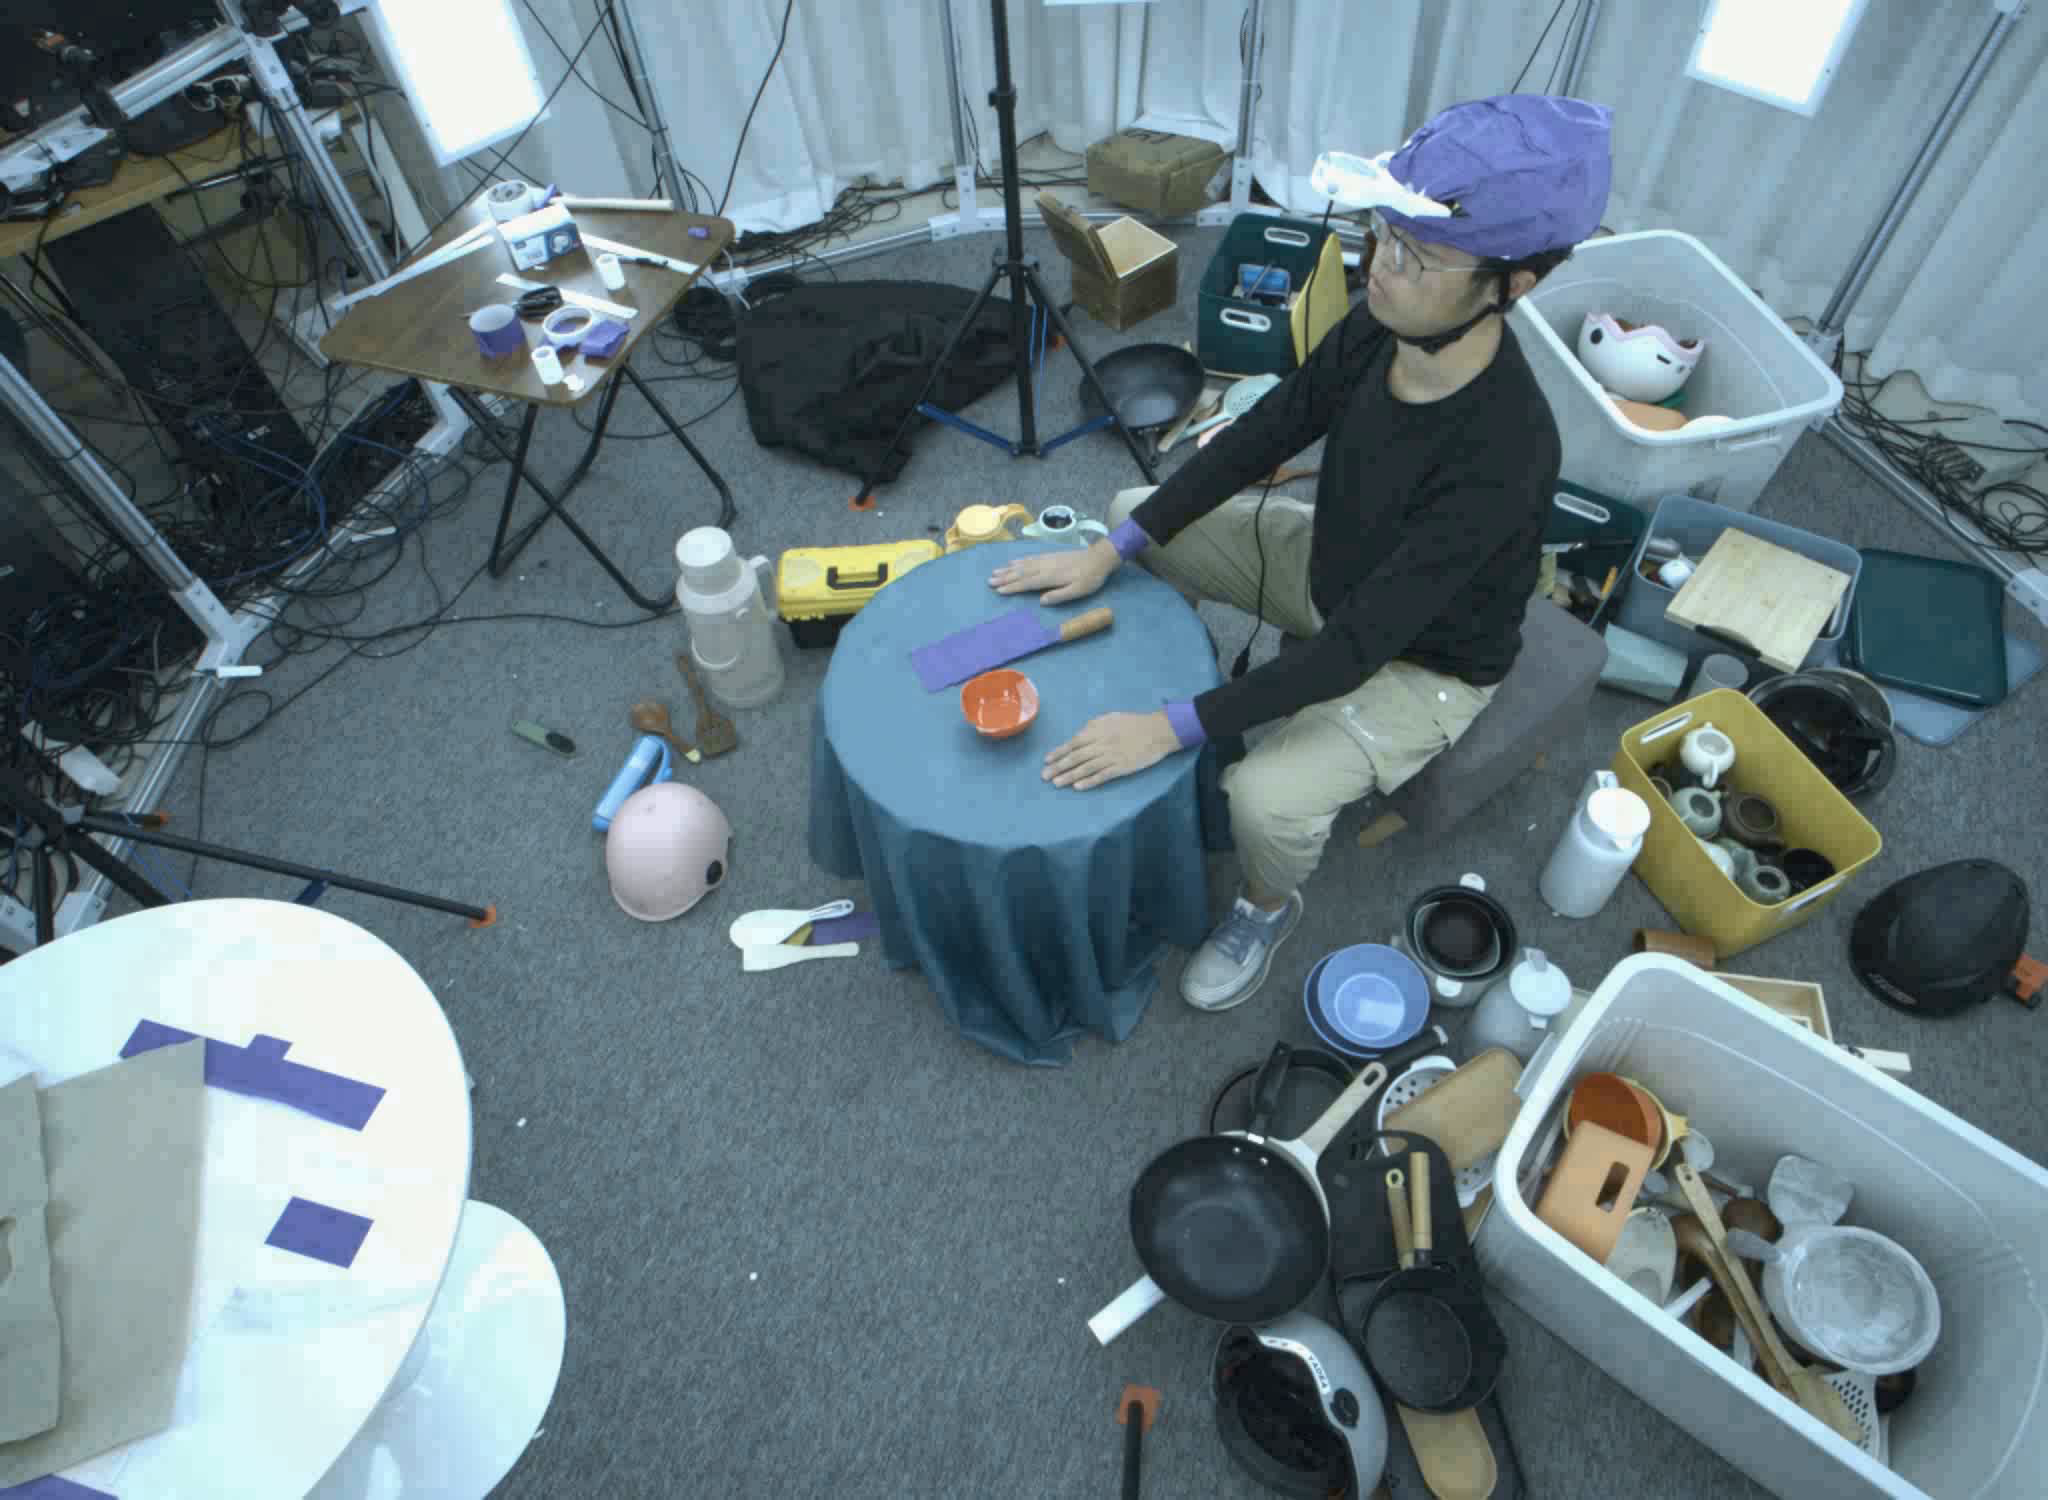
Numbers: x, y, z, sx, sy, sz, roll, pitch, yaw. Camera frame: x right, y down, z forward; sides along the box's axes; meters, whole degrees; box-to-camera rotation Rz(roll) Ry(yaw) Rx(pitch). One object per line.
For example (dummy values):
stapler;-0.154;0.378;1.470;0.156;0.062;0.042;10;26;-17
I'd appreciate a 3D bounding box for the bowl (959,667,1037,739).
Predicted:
bowl;-0.035;-0.061;1.792;0.118;0.052;0.117;-3;54;5

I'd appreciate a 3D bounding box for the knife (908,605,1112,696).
knife;-0.023;-0.177;1.894;0.317;0.032;0.102;-22;57;-12
